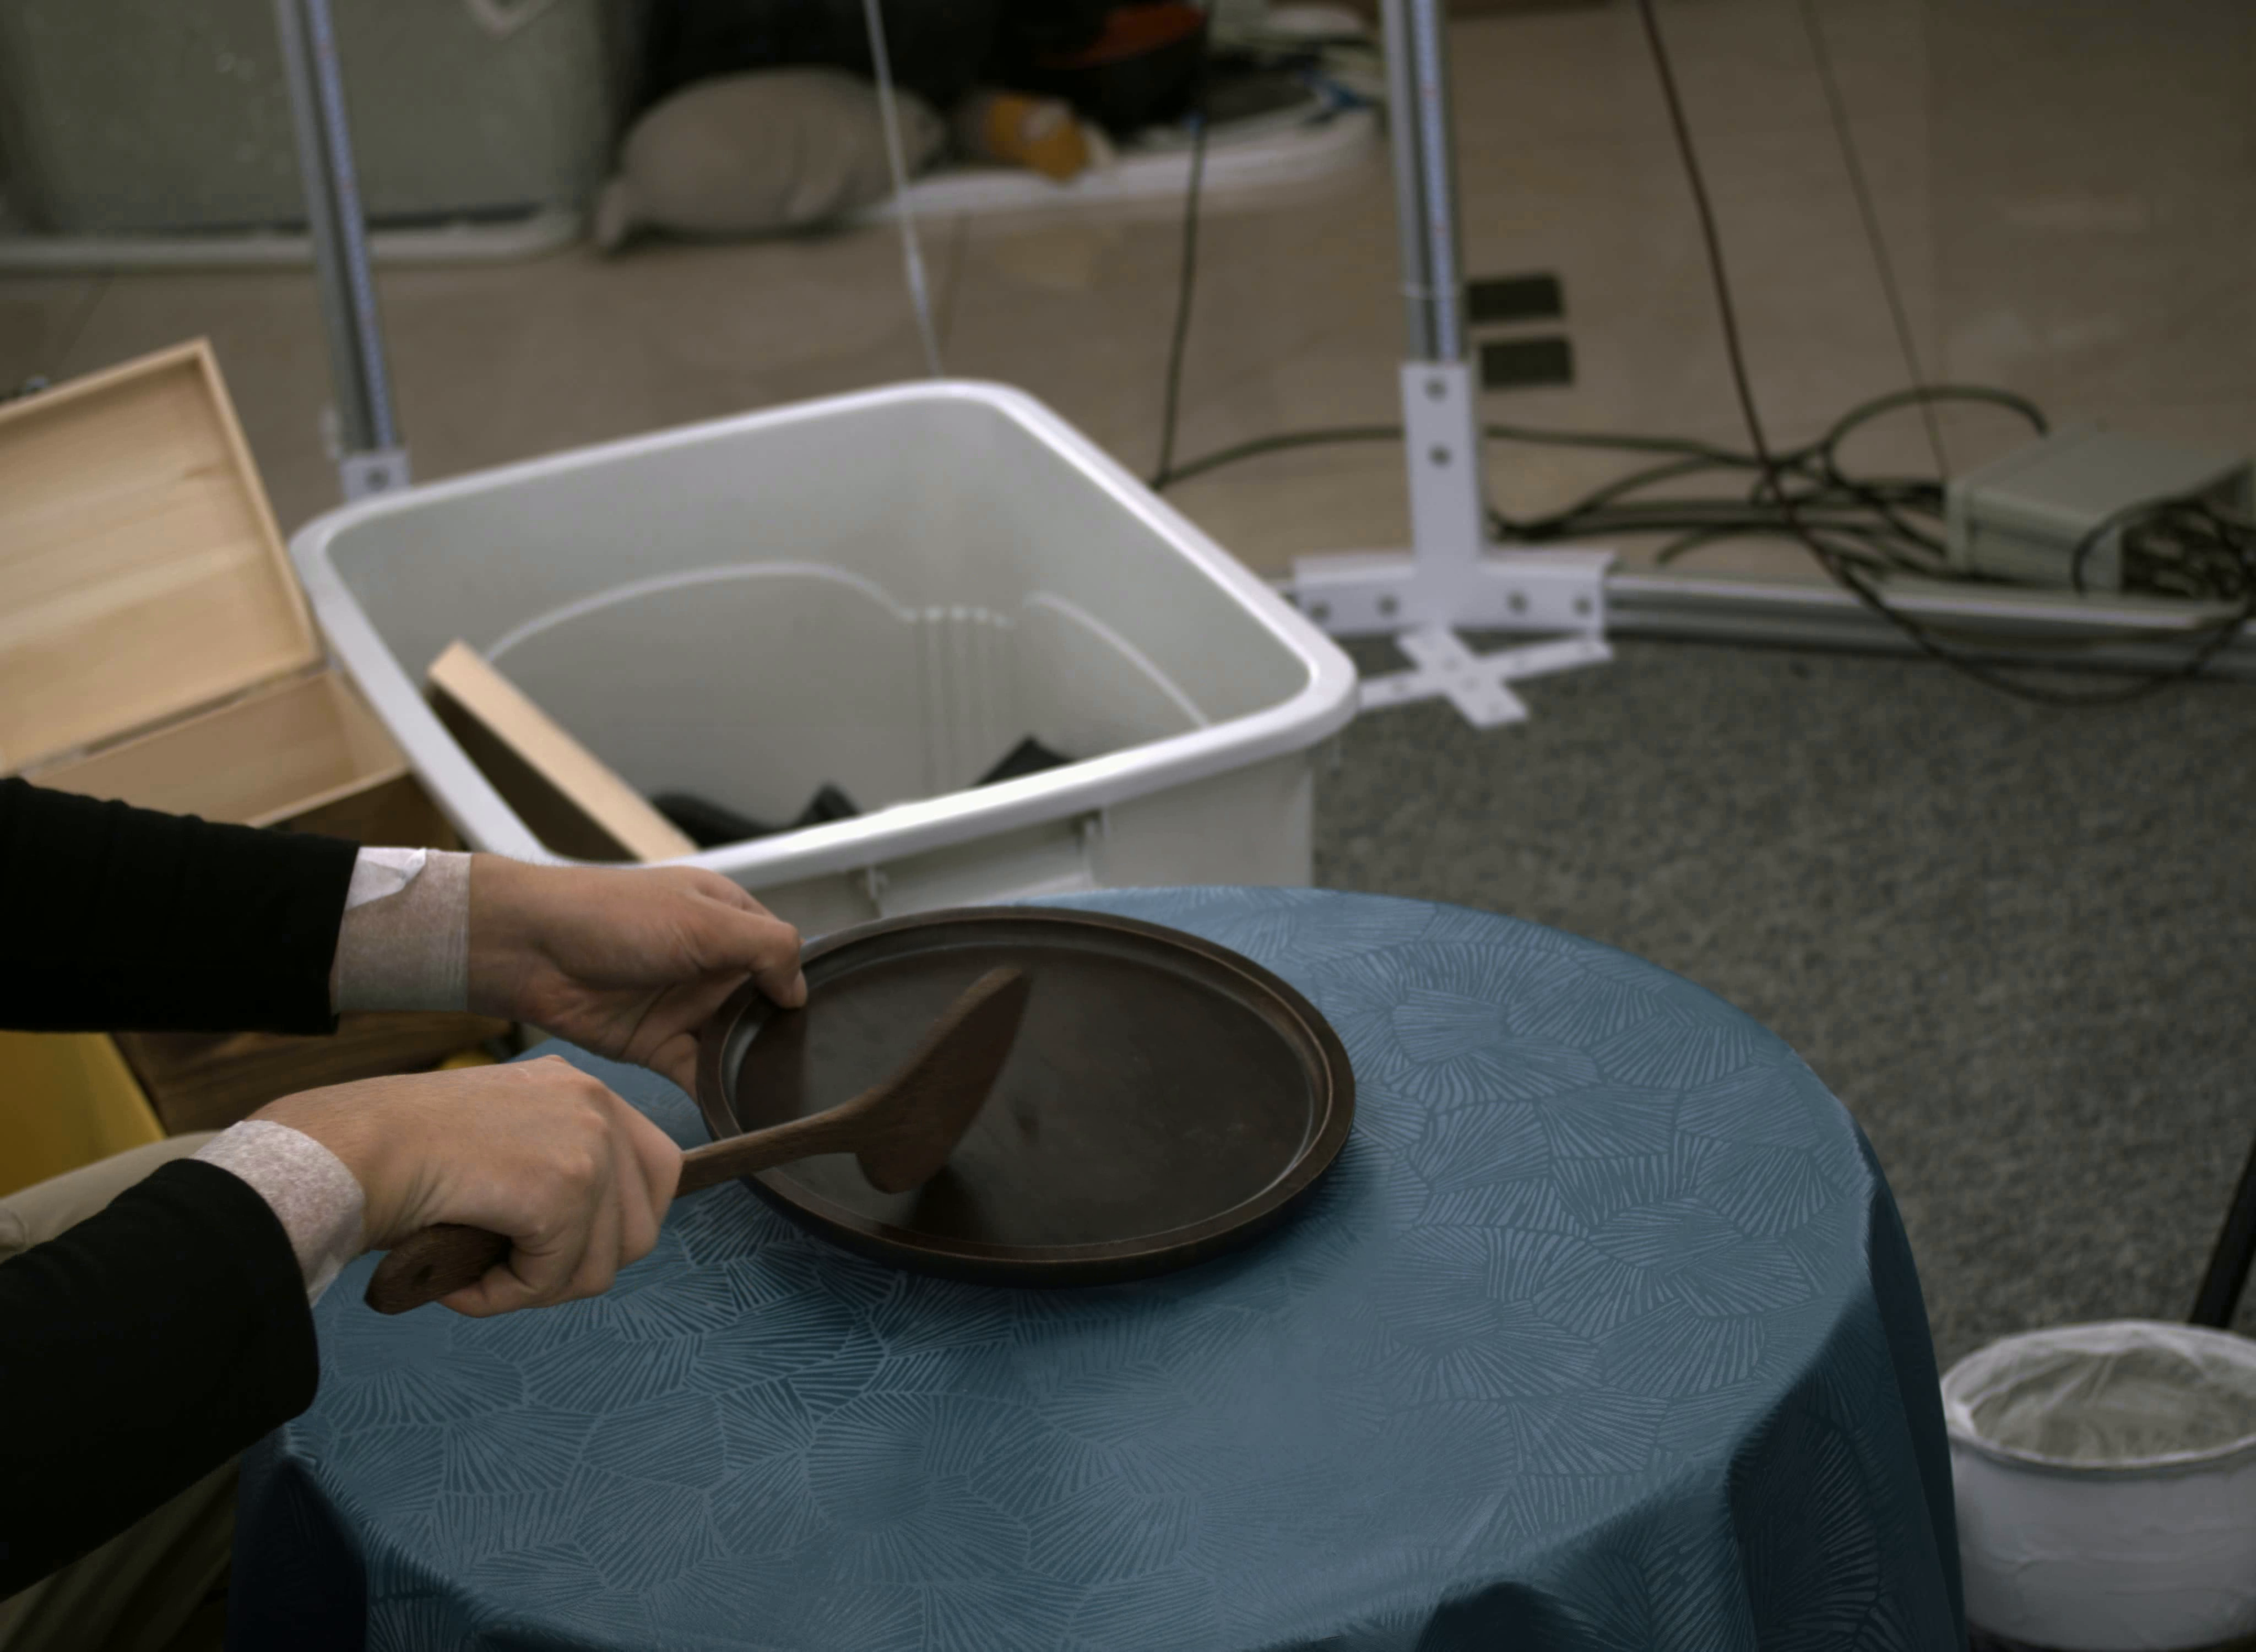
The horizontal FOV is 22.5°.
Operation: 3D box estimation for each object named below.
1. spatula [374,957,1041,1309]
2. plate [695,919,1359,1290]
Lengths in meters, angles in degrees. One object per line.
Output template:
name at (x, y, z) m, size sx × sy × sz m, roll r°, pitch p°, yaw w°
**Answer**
spatula at (-0.139, 0.115, 1.947) m, size 0.015 × 0.097 × 0.384 m, roll 34°, pitch 24°, yaw 23°
plate at (-0.039, 0.104, 2.160) m, size 0.254 × 0.029 × 0.250 m, roll 4°, pitch 30°, yaw -2°
